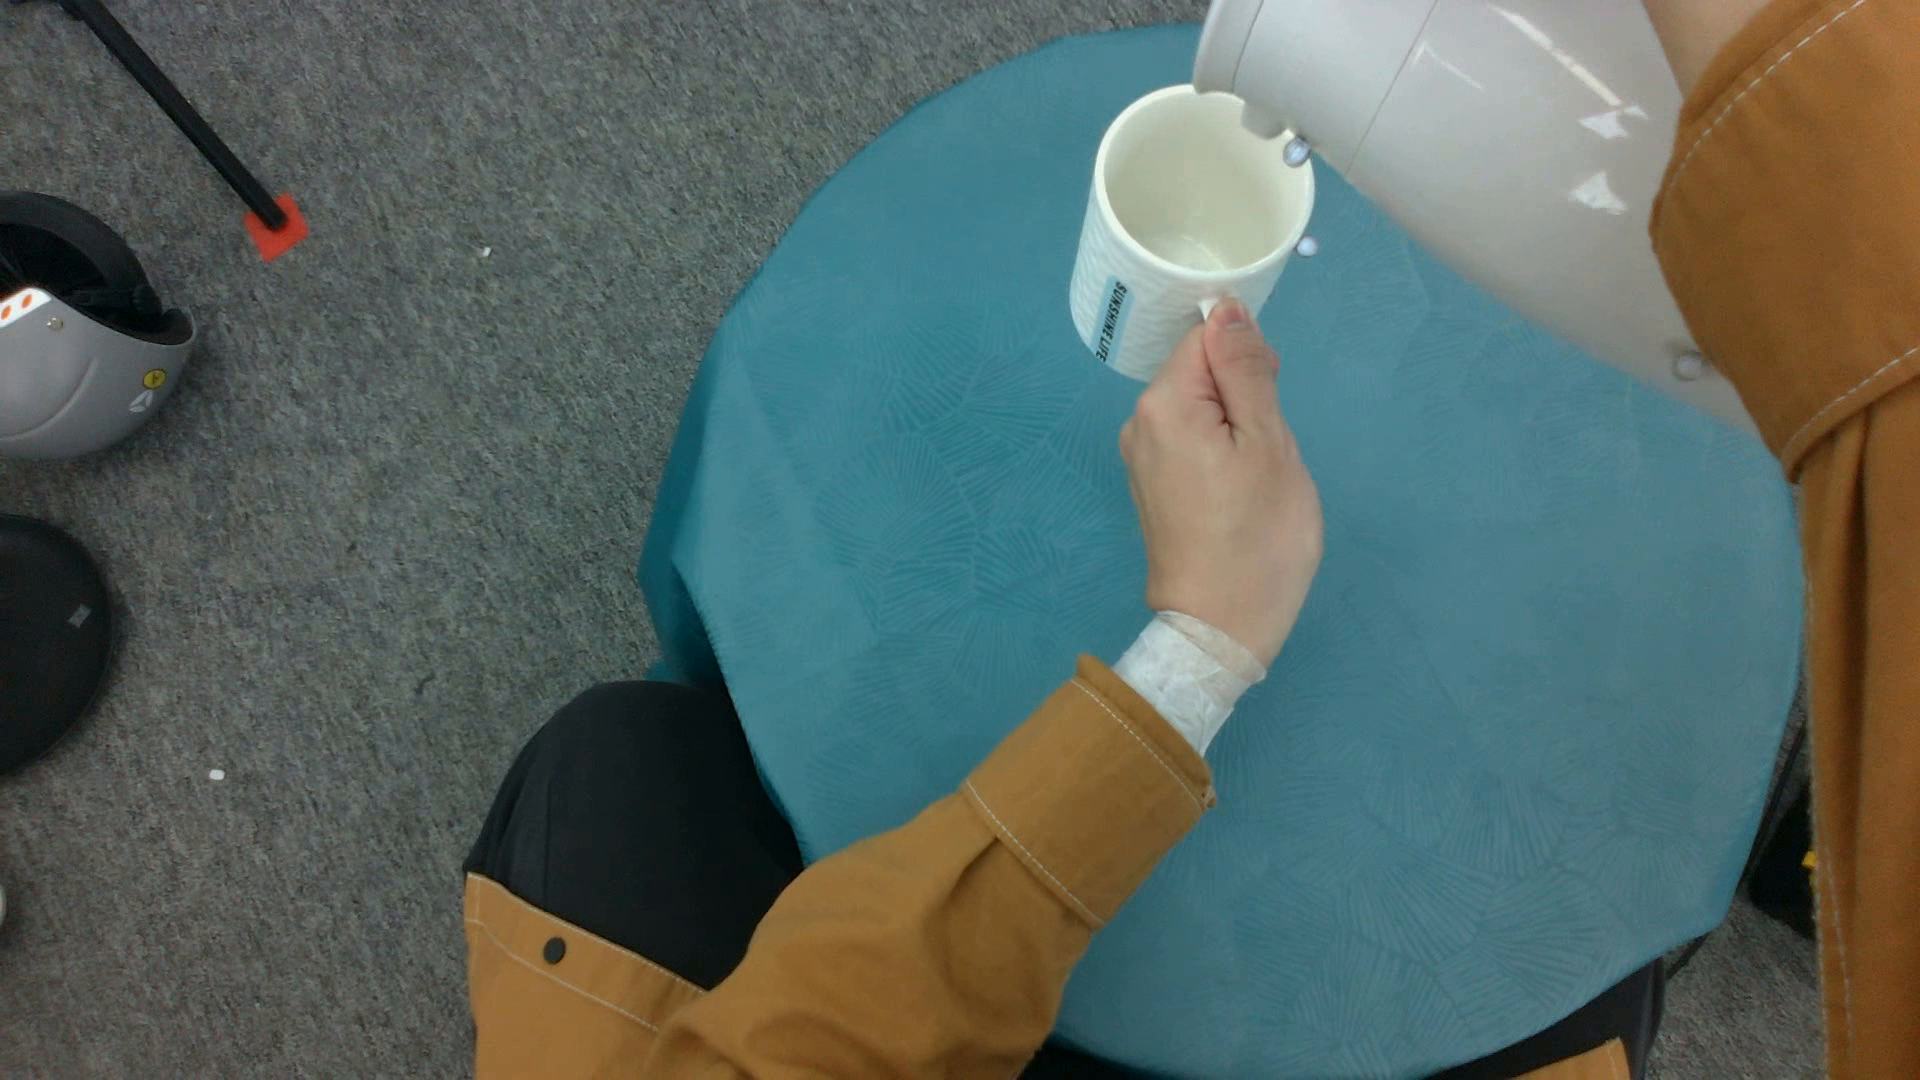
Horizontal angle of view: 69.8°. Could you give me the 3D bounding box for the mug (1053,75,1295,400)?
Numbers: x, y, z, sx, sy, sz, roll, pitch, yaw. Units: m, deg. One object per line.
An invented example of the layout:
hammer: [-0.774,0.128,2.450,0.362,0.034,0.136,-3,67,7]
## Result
mug: [0.089,-0.114,0.577,0.085,0.101,0.118,-11,72,-7]

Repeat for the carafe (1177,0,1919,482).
carafe: [0.194,-0.141,0.402,0.248,0.167,0.133,29,65,8]
